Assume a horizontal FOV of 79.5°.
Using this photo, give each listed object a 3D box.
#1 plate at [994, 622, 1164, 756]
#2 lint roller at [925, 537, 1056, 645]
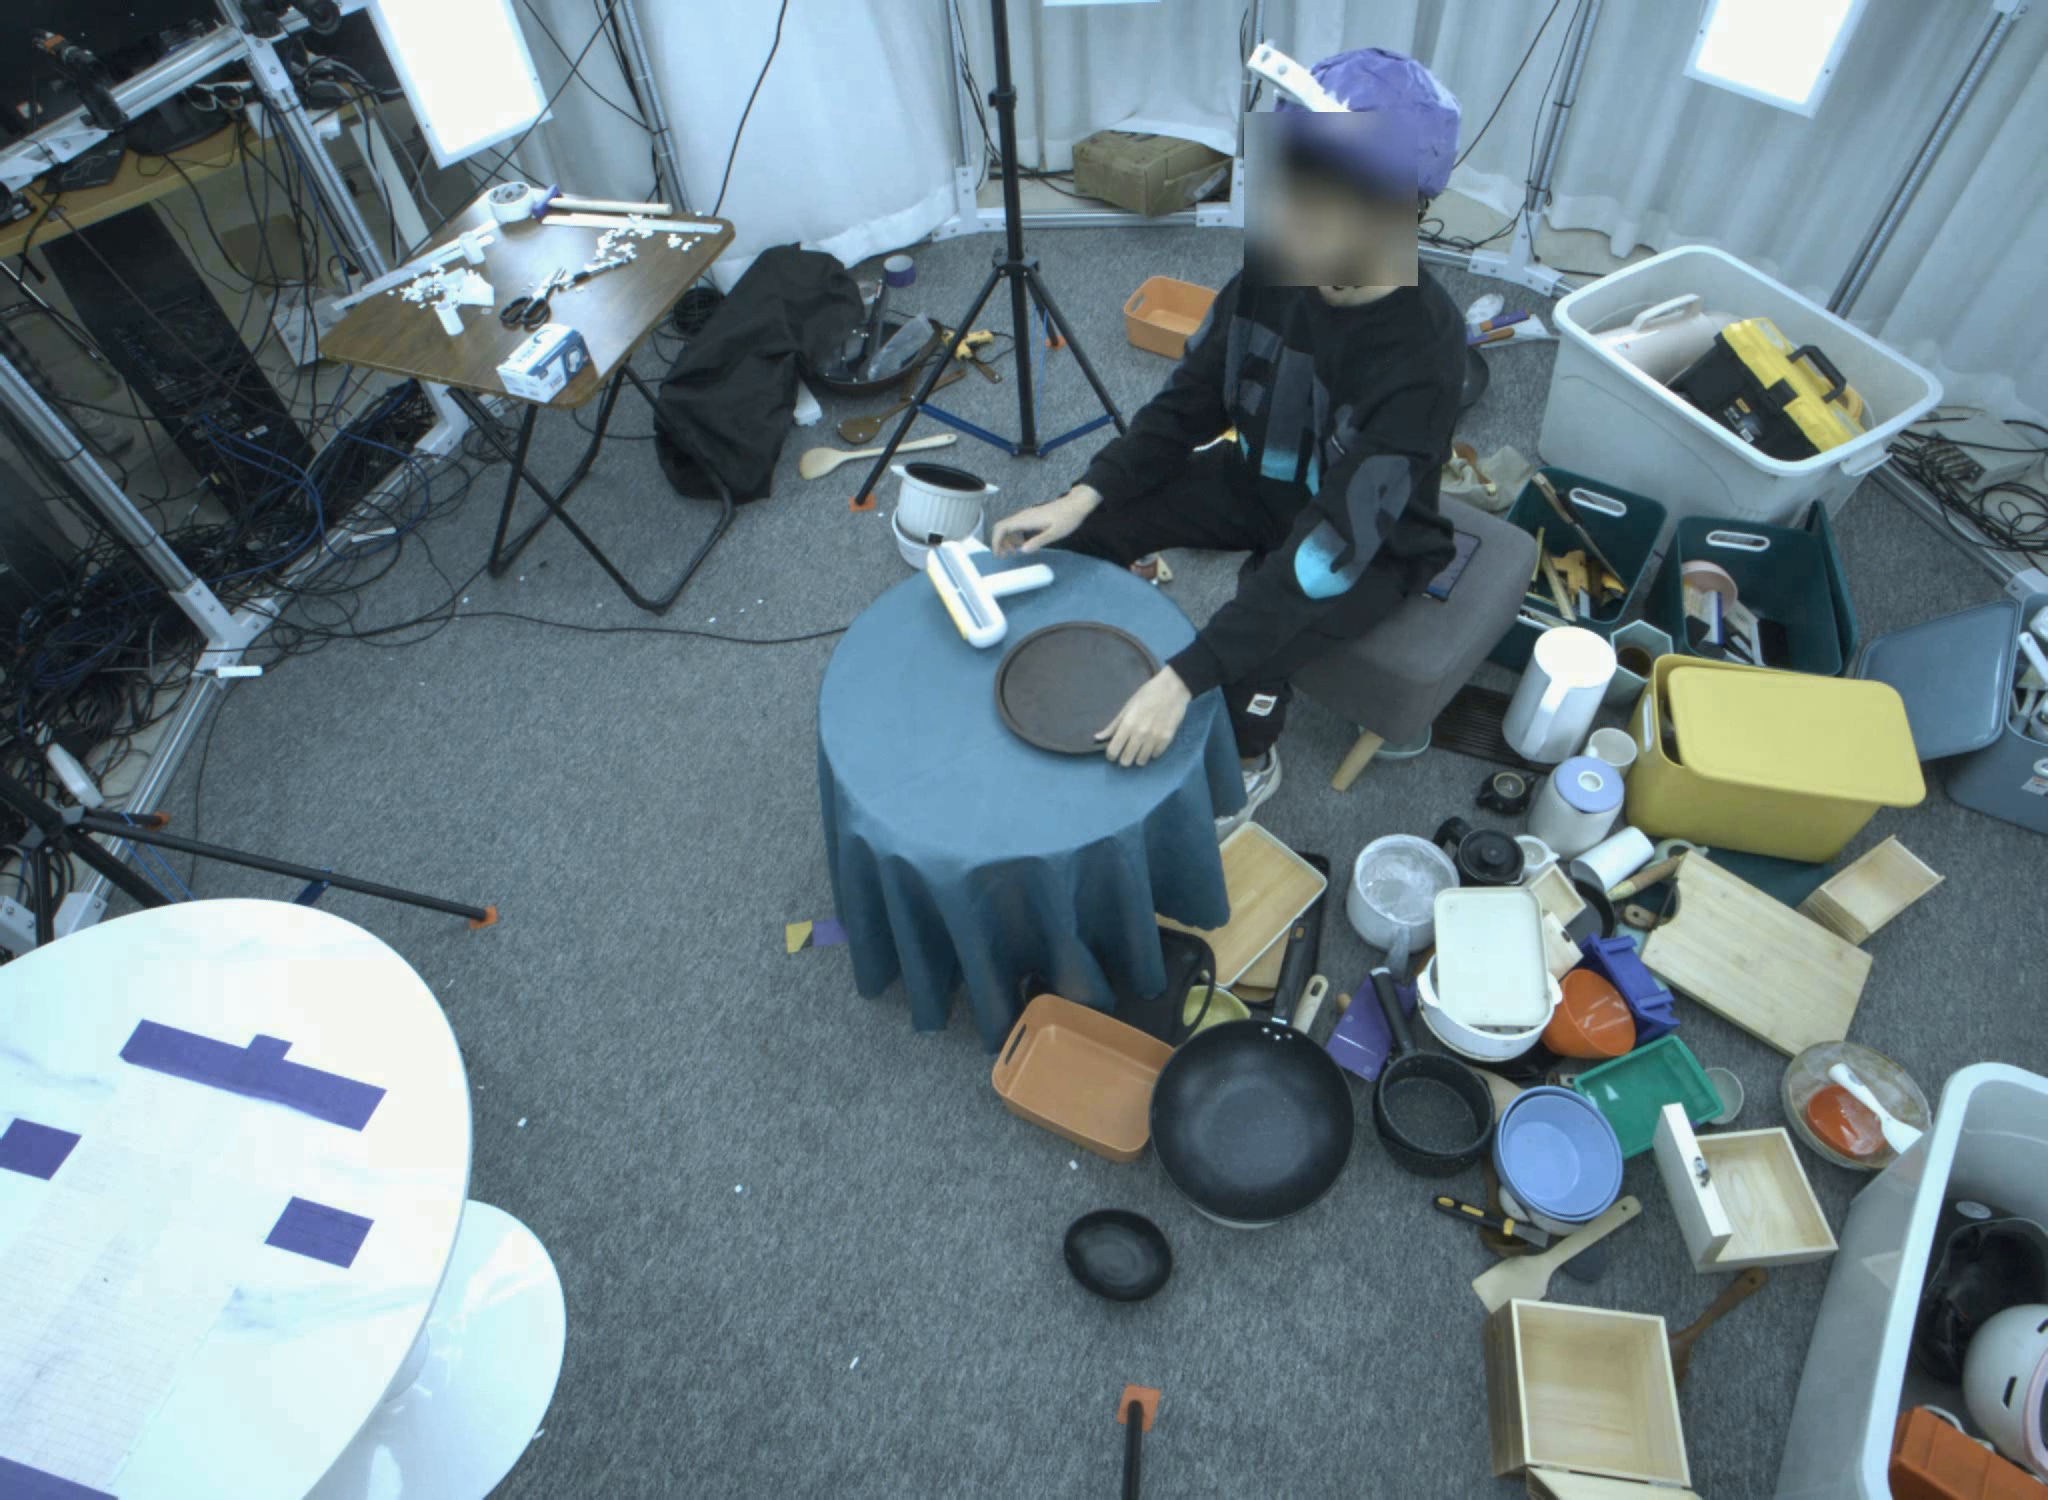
[{"bbox_3d":[0.081,-0.092,1.832,0.255,0.029,0.252,0,54,1],"label":"plate"},{"bbox_3d":[-0.040,-0.263,1.930,0.194,0.075,0.190,-20,62,-13],"label":"lint roller"}]
